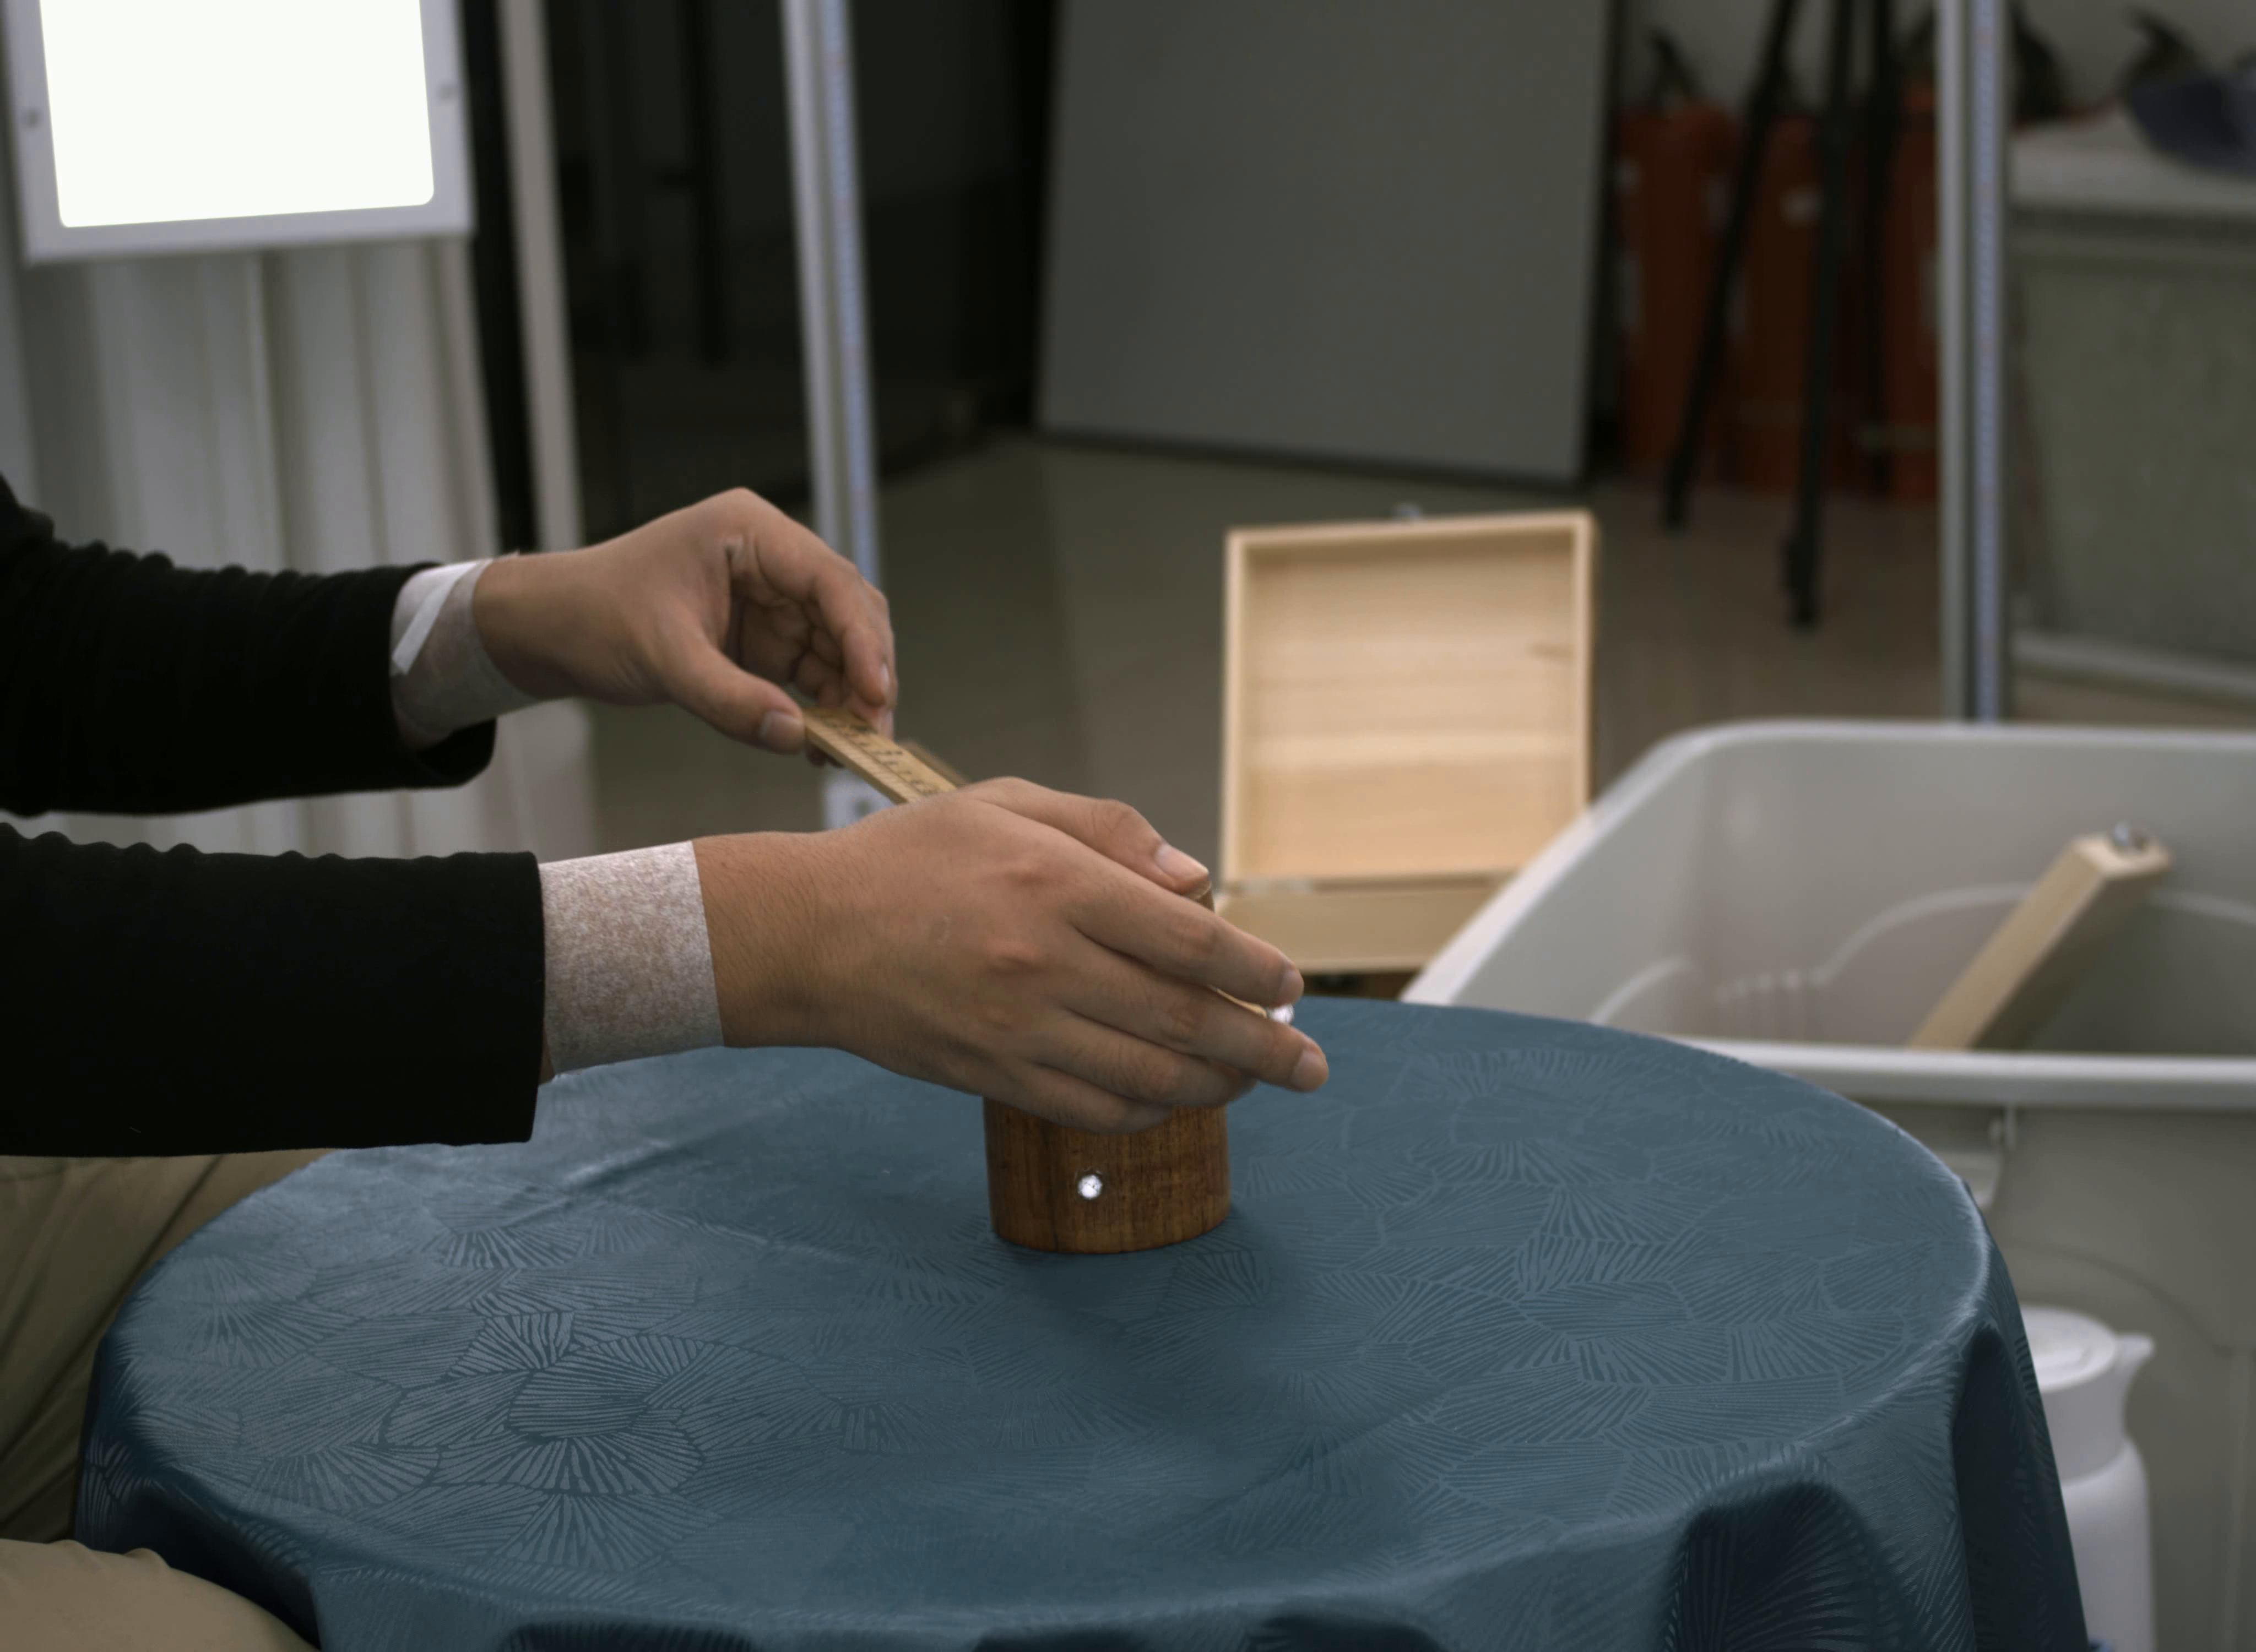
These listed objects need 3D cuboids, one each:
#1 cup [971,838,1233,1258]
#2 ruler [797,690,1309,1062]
[{"bbox_3d":[-0.008,0.070,1.732,0.086,0.120,0.088,-4,12,0],"label":"cup"},{"bbox_3d":[-0.030,0.010,1.698,0.027,0.022,0.335,5,16,-28],"label":"ruler"}]
